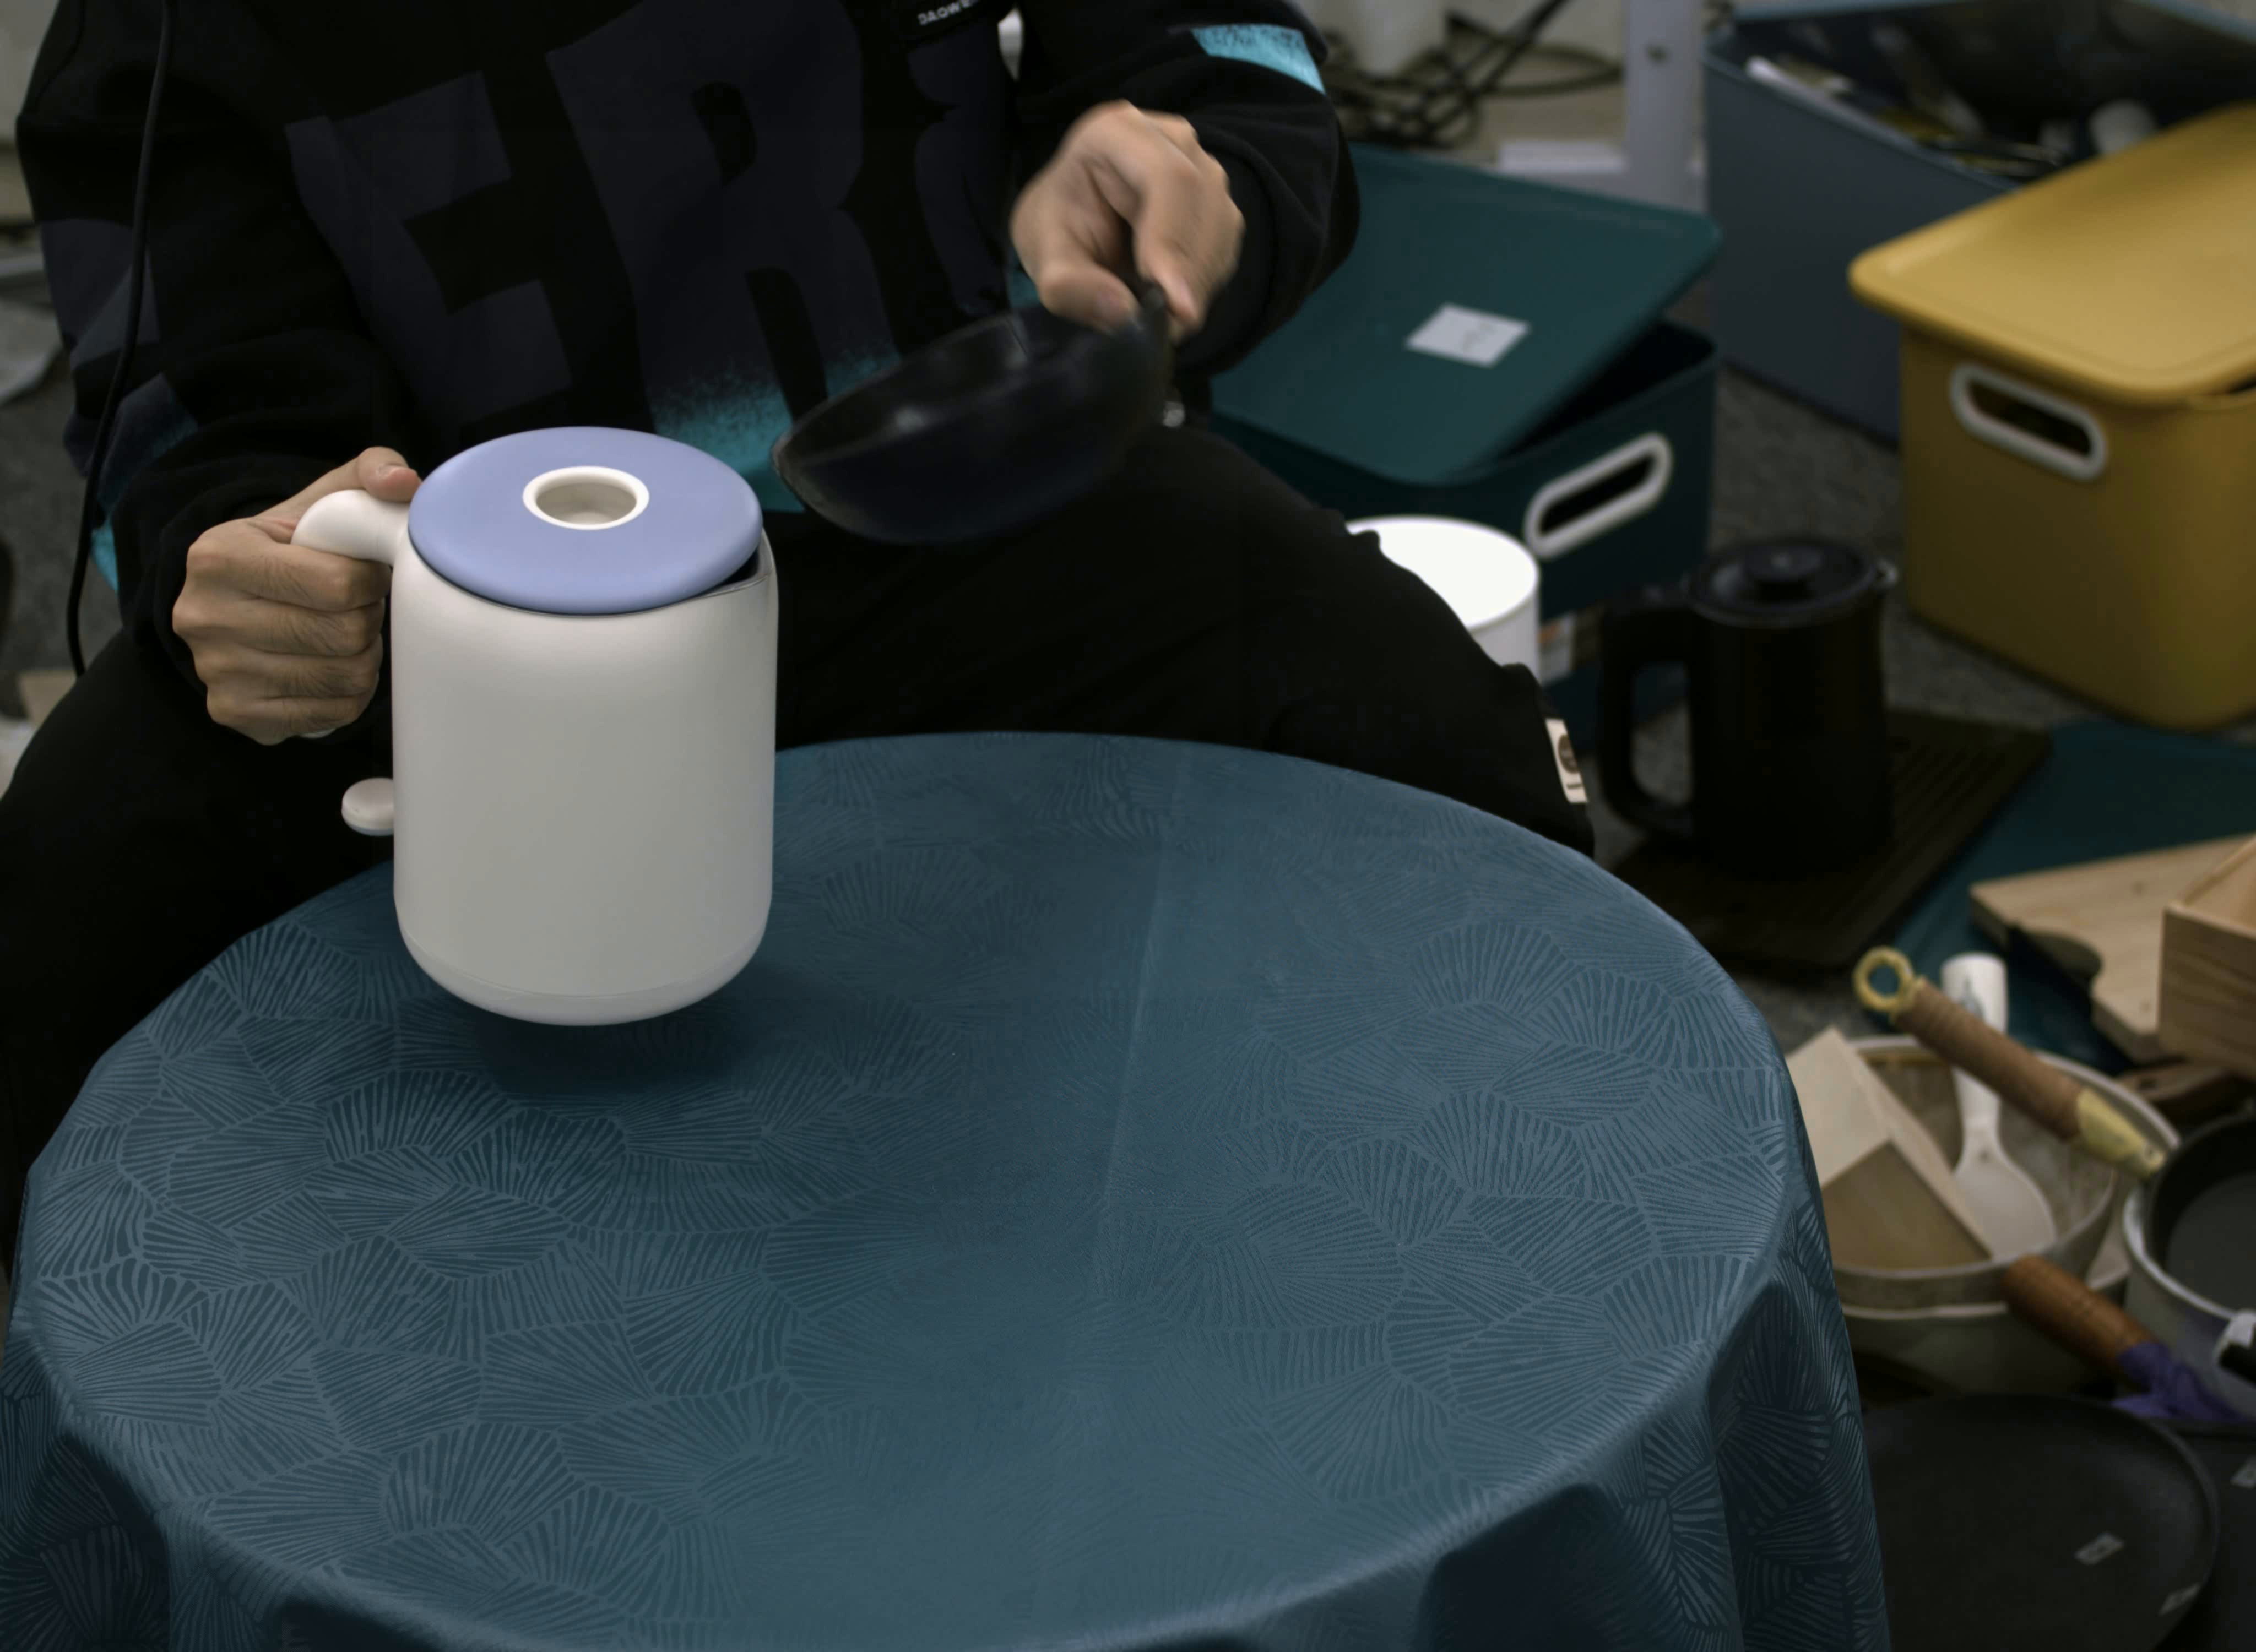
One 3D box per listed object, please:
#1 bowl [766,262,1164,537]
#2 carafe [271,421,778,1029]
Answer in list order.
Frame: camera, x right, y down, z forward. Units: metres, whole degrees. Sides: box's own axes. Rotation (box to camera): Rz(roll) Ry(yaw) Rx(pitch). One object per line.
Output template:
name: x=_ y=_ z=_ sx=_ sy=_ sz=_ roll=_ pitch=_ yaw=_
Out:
bowl: x=-0.045 y=-0.131 z=1.826 sx=0.139 sy=0.049 sz=0.141 roll=-24 pitch=11 yaw=5
carafe: x=-0.208 y=-0.040 z=1.924 sx=0.190 sy=0.180 sz=0.134 roll=12 pitch=31 yaw=18
